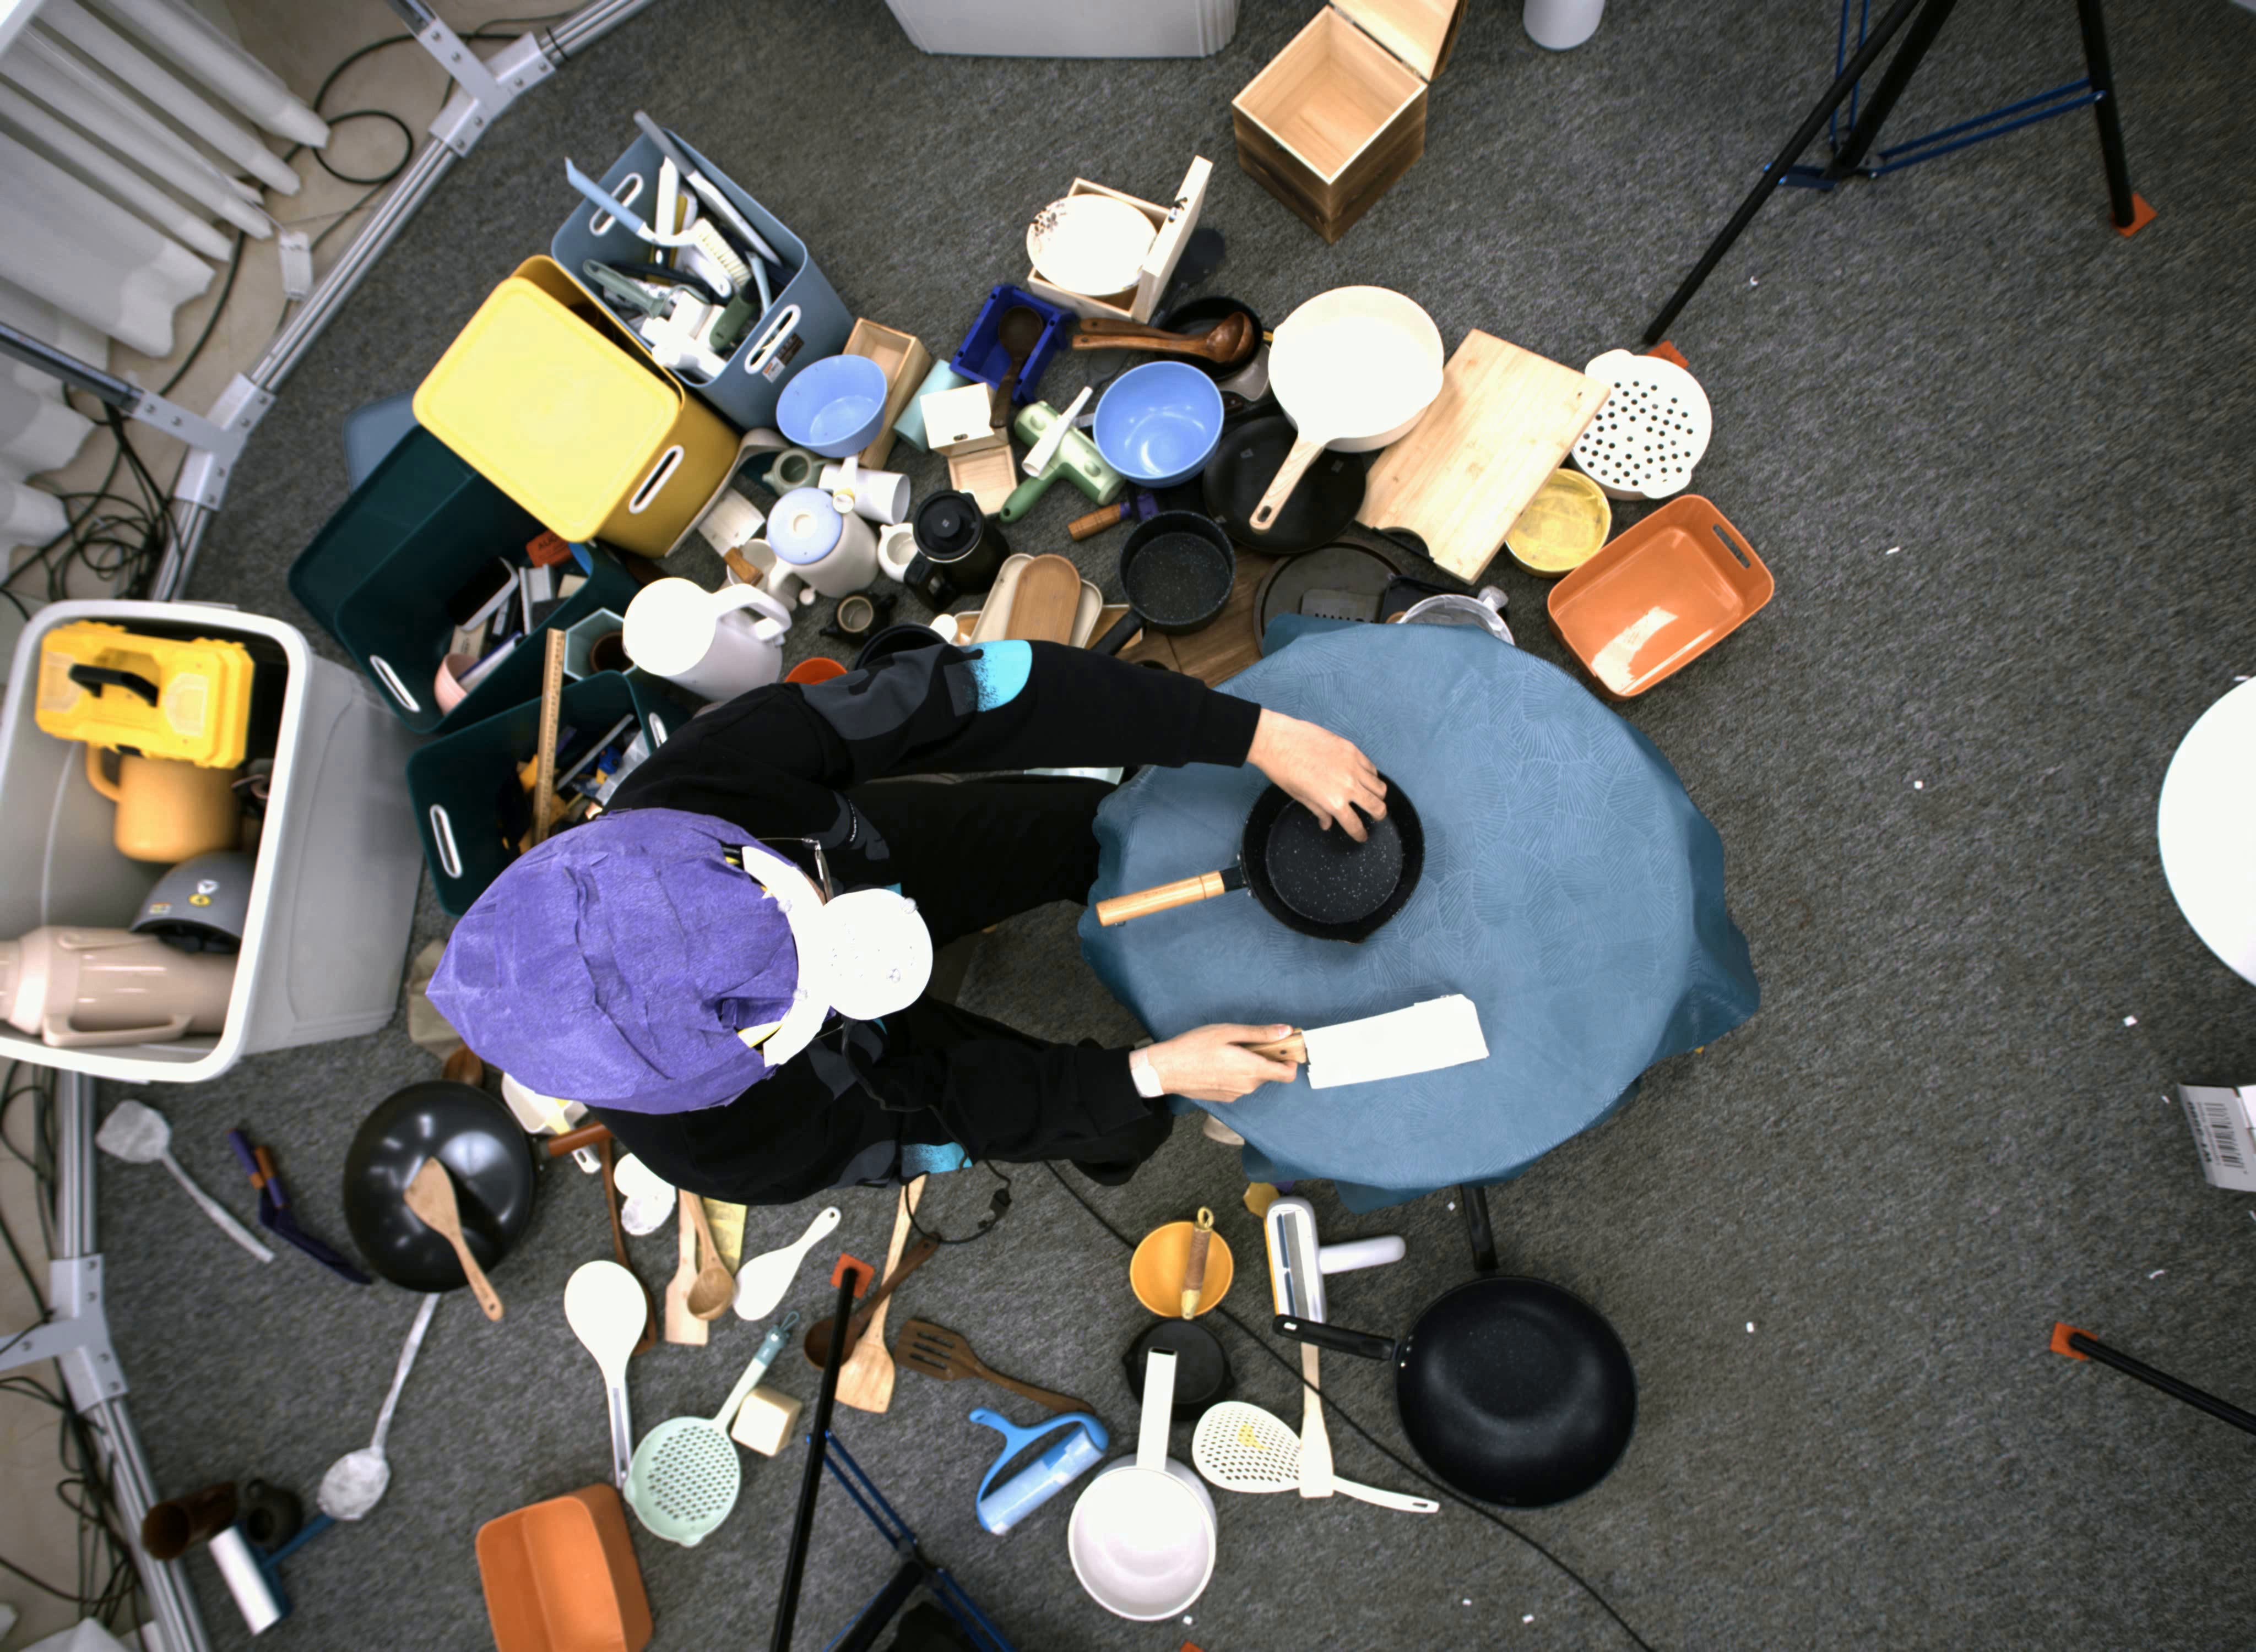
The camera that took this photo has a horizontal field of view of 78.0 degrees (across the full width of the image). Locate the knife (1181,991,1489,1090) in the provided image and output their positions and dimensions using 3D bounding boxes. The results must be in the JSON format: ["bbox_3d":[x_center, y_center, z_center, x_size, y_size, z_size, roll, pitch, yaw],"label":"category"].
[{"bbox_3d":[0.210,0.228,1.424,0.317,0.021,0.116,-10,127,9],"label":"knife"}]

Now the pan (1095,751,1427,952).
[{"bbox_3d":[0.136,0.049,1.430,0.344,0.108,0.206,-18,84,8],"label":"pan"}]
